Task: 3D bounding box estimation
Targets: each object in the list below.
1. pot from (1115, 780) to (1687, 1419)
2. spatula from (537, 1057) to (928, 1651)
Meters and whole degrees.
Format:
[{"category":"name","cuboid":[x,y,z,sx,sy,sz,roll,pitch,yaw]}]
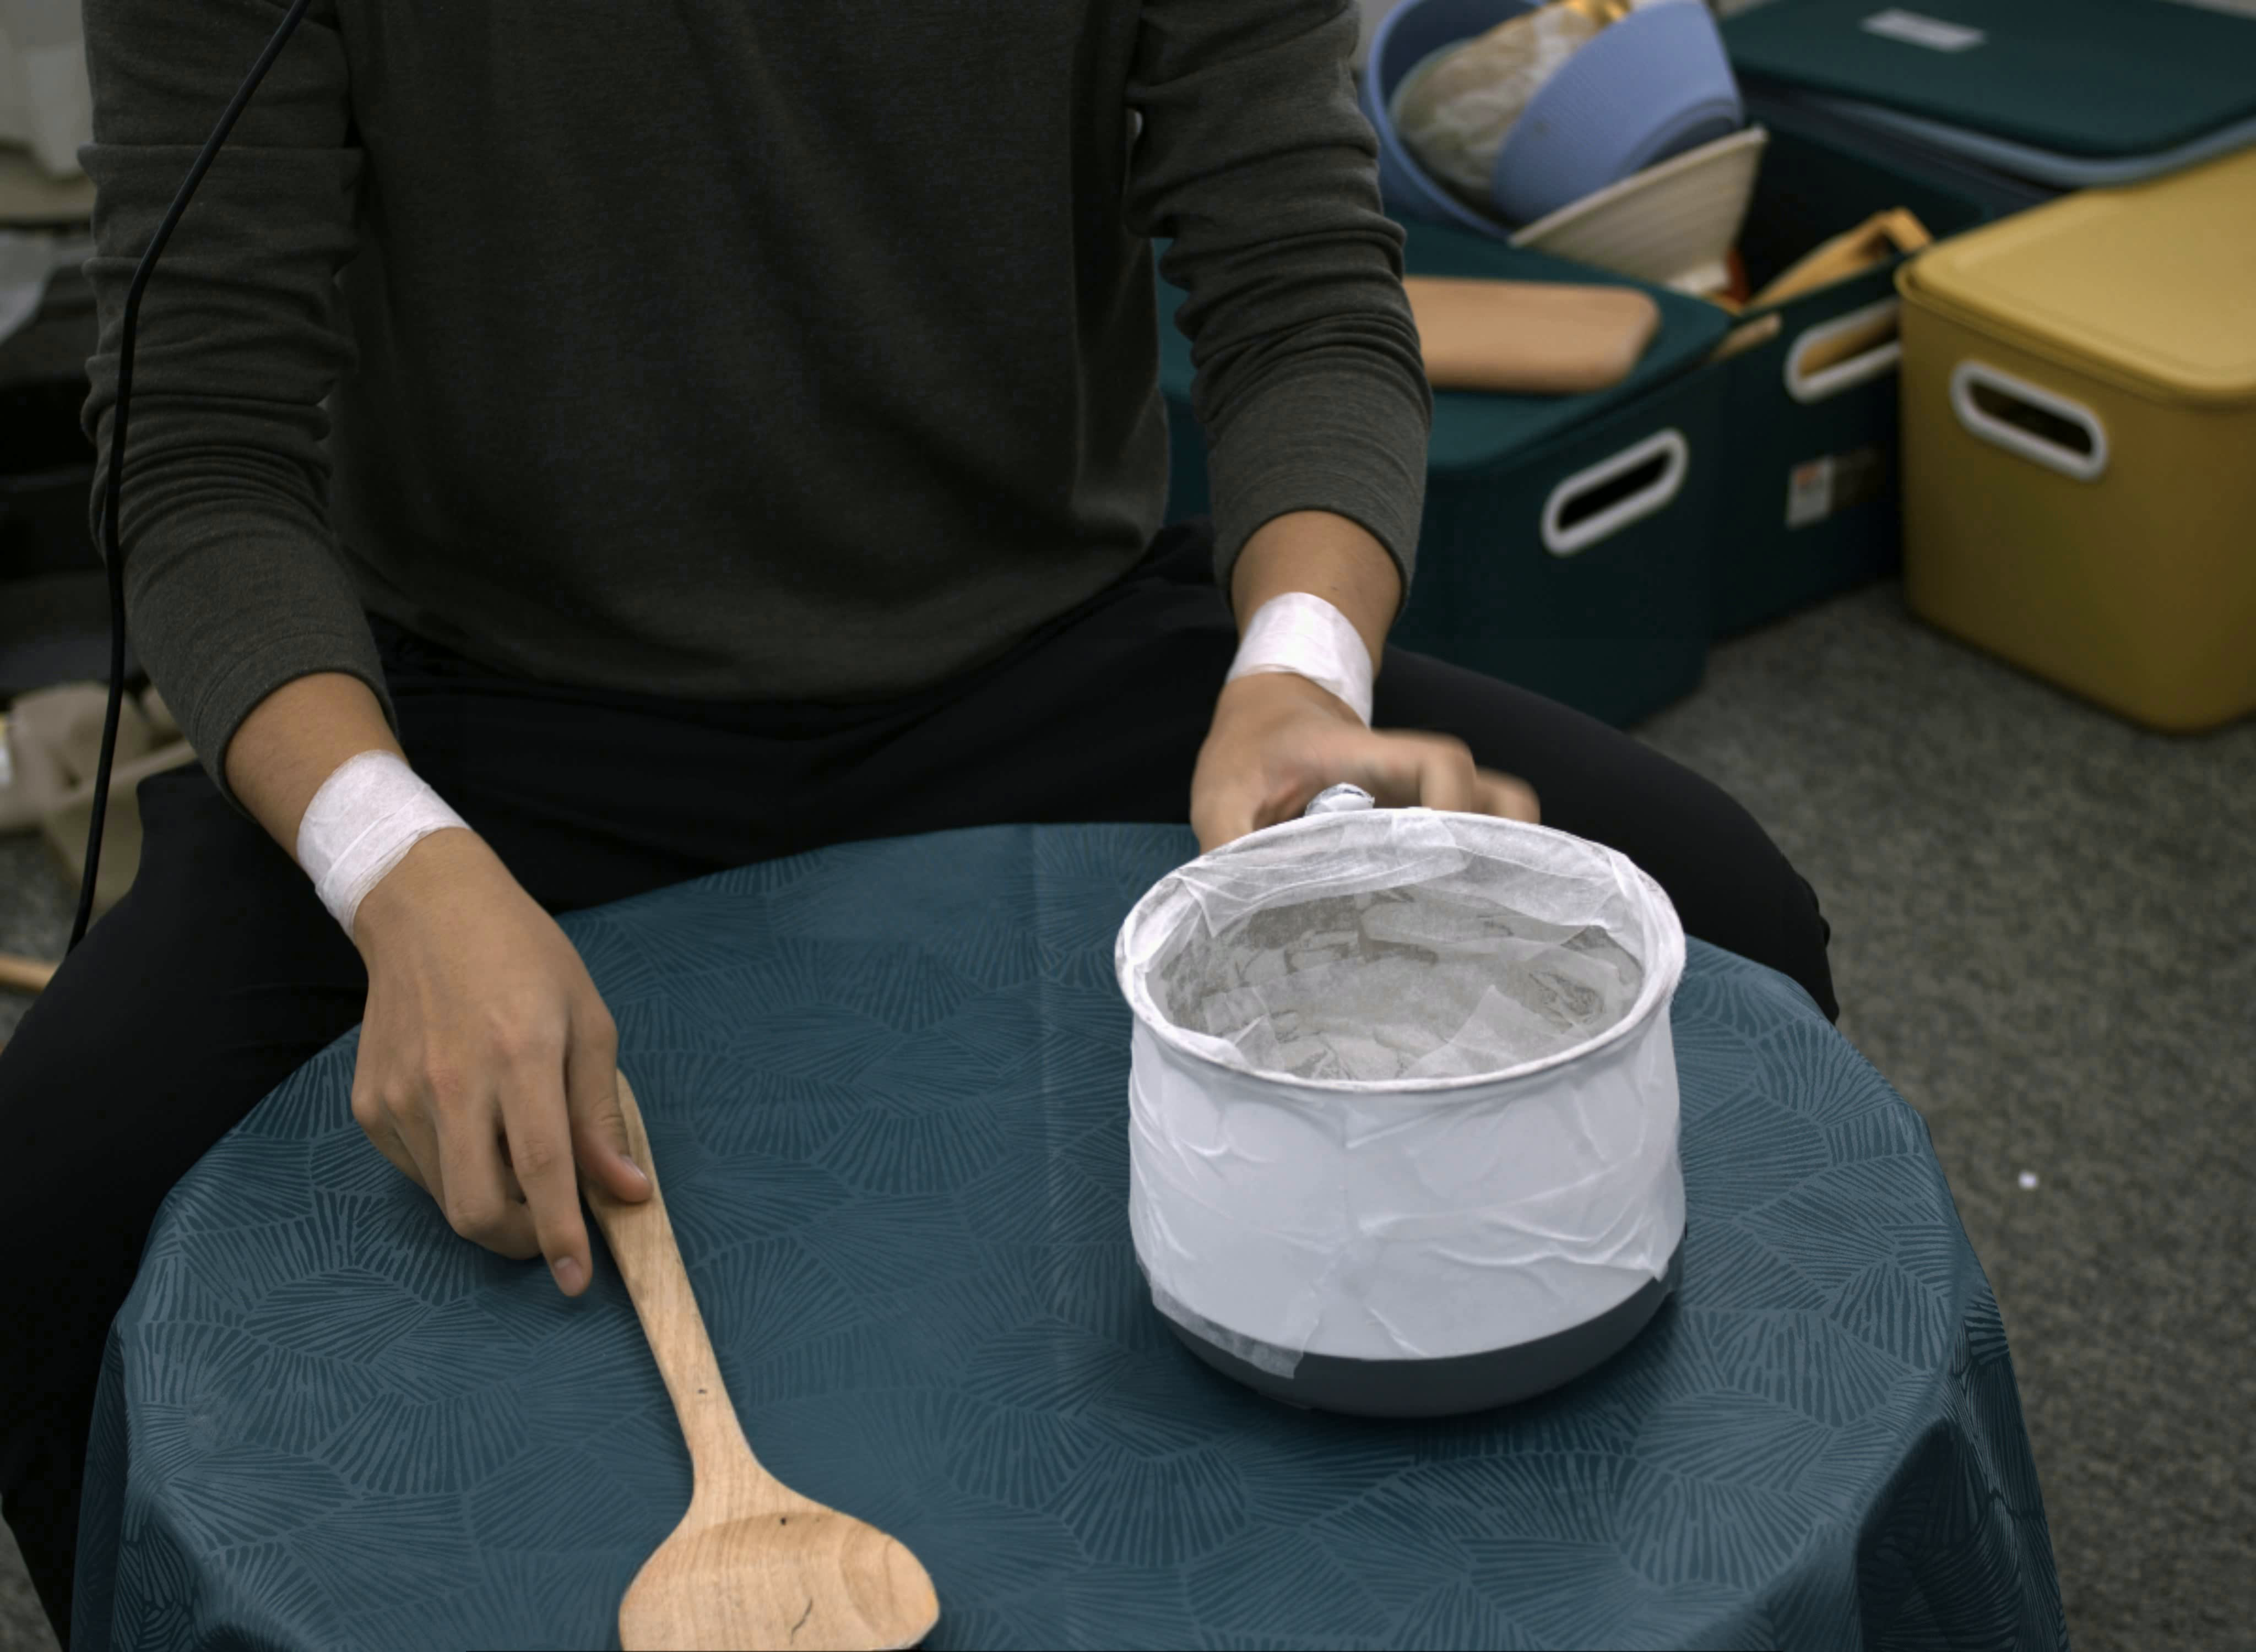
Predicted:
[{"category":"pot","cuboid":[0.083,0.079,1.789,0.178,0.135,0.236,-6,27,-7]},{"category":"spatula","cuboid":[-0.147,0.166,1.772,0.096,0.018,0.395,-8,28,-13]}]
